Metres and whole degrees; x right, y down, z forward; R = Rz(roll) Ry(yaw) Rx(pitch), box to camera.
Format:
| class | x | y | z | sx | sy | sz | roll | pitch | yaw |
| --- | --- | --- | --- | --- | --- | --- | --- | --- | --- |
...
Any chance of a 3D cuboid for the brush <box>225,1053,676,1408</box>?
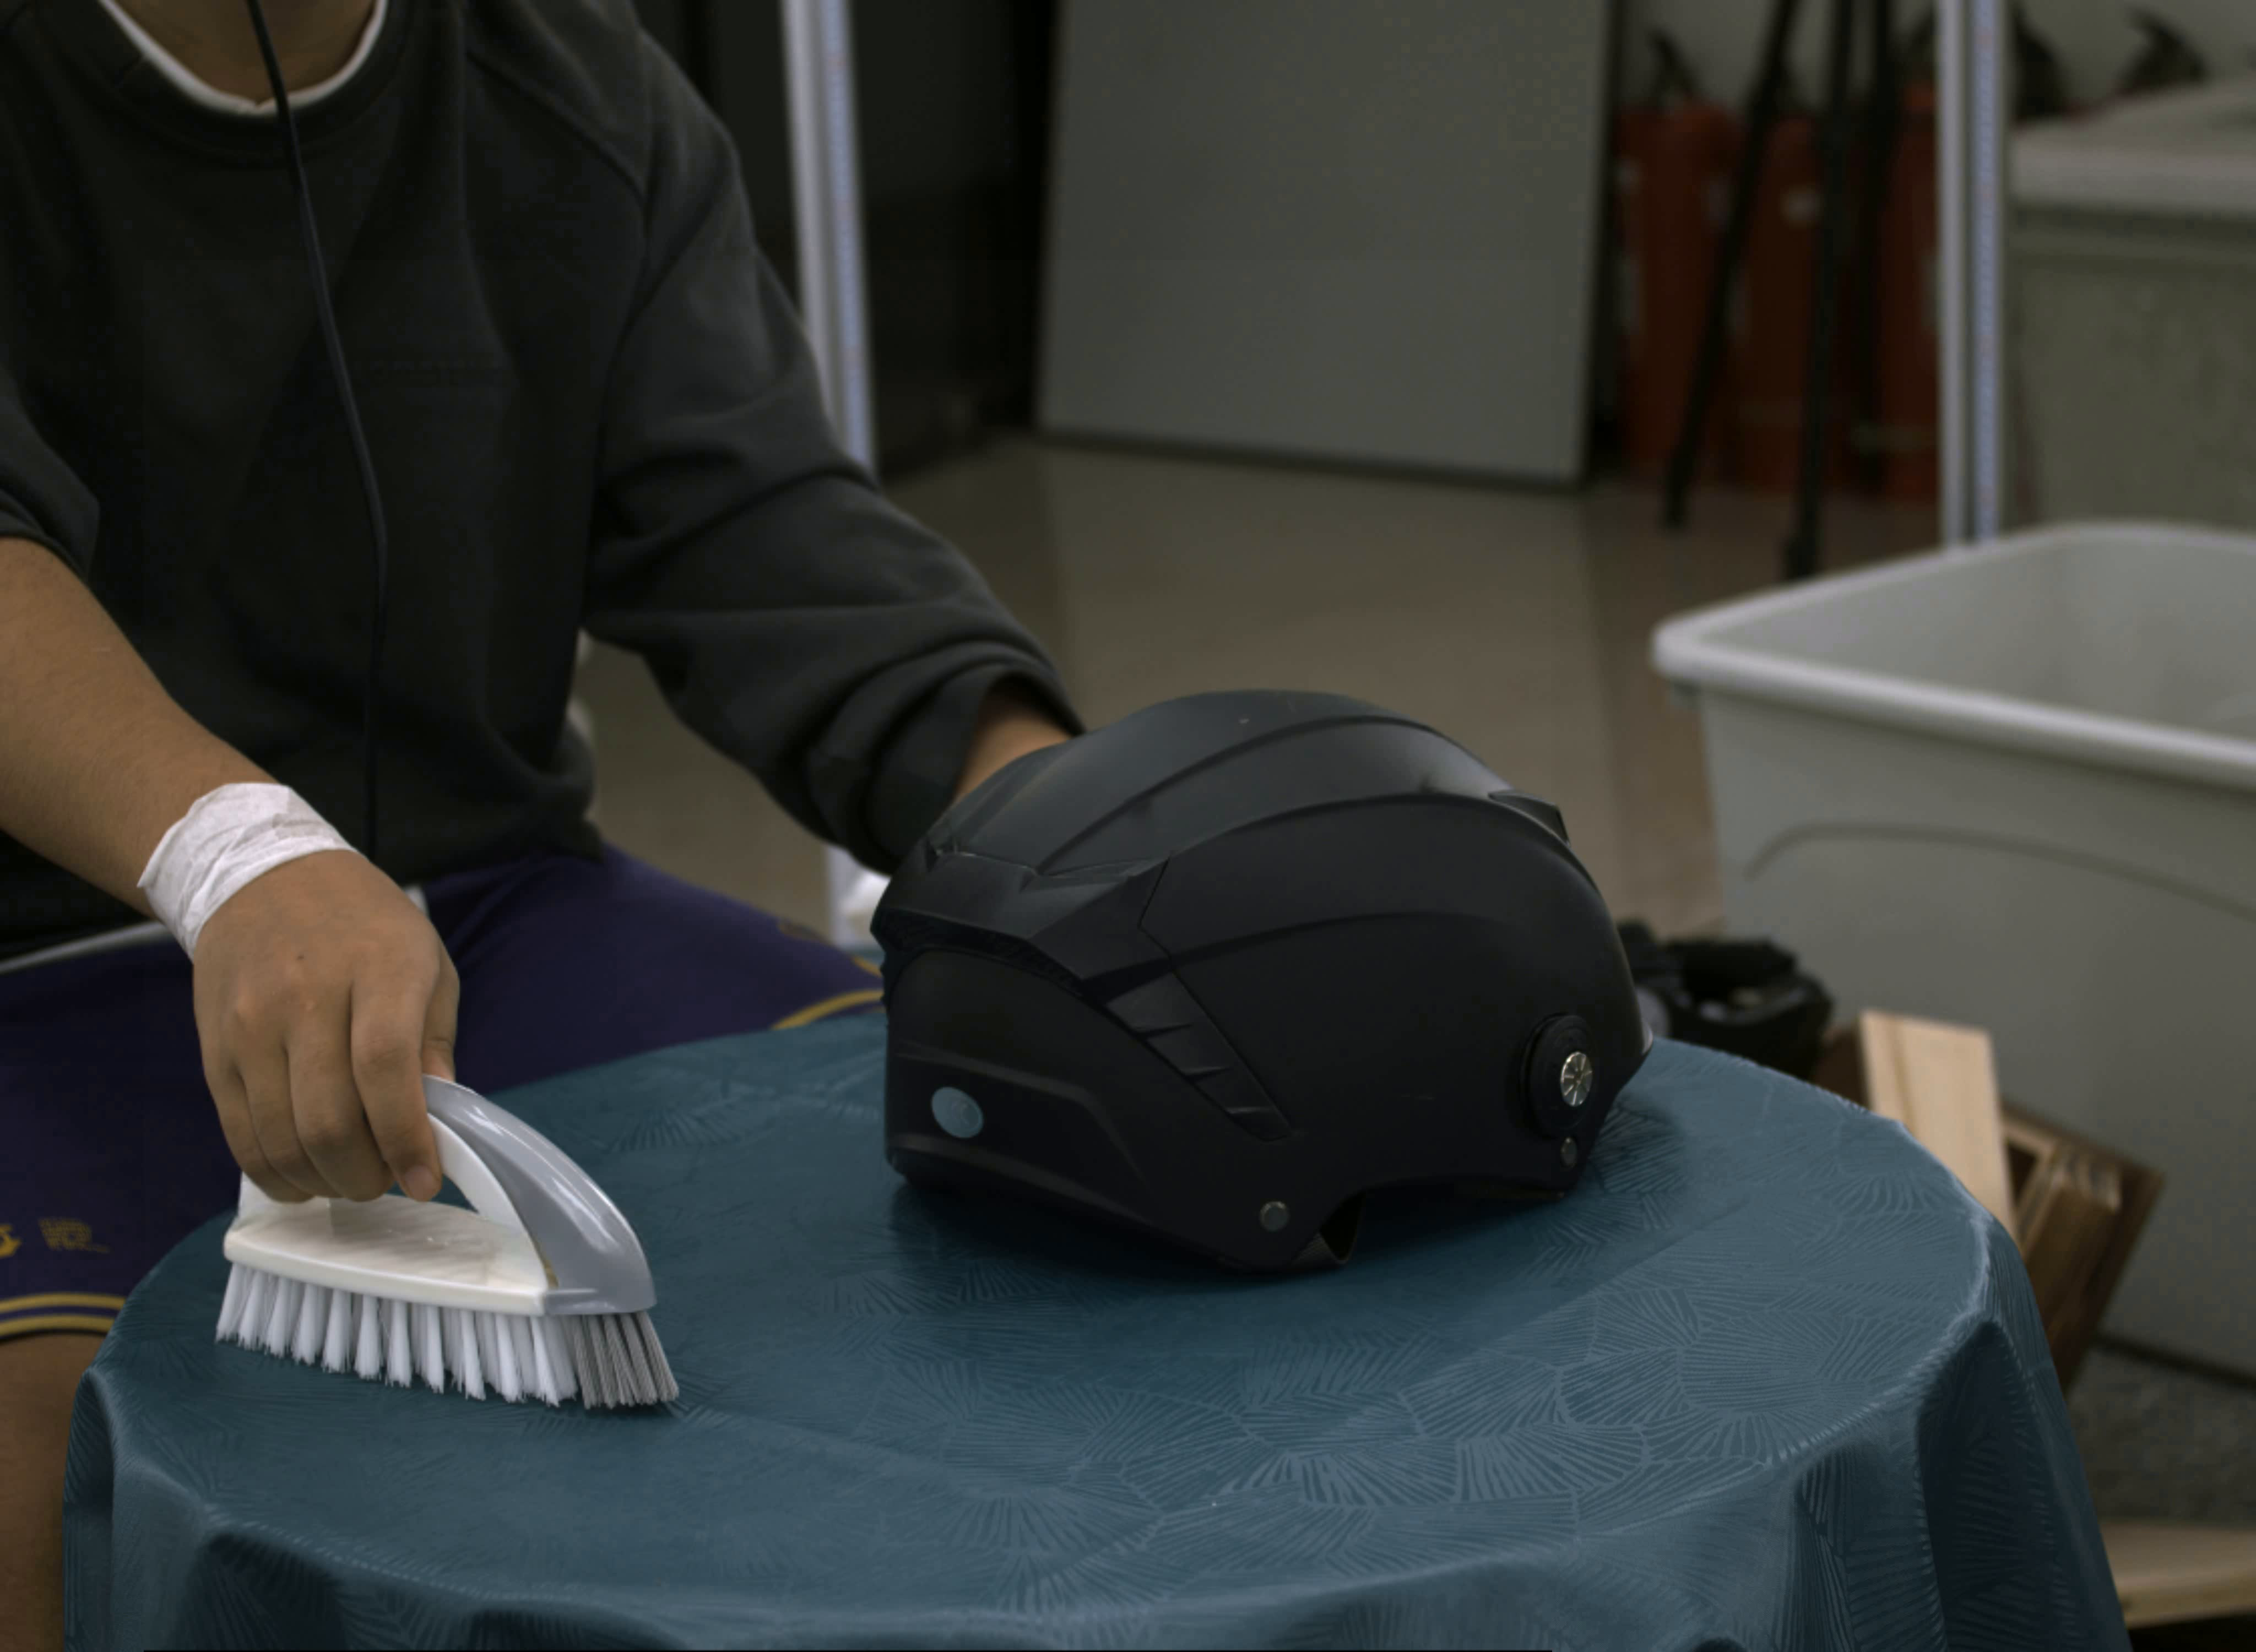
| class | x | y | z | sx | sy | sz | roll | pitch | yaw |
| --- | --- | --- | --- | --- | --- | --- | --- | --- | --- |
| brush | -0.203 | 0.120 | 1.639 | 0.177 | 0.095 | 0.060 | 10 | 20 | 39 |

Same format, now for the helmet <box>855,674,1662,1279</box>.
| class | x | y | z | sx | sy | sz | roll | pitch | yaw |
| --- | --- | --- | --- | --- | --- | --- | --- | --- | --- |
| helmet | 0.043 | 0.037 | 1.764 | 0.271 | 0.174 | 0.249 | -20 | 22 | -38 |
